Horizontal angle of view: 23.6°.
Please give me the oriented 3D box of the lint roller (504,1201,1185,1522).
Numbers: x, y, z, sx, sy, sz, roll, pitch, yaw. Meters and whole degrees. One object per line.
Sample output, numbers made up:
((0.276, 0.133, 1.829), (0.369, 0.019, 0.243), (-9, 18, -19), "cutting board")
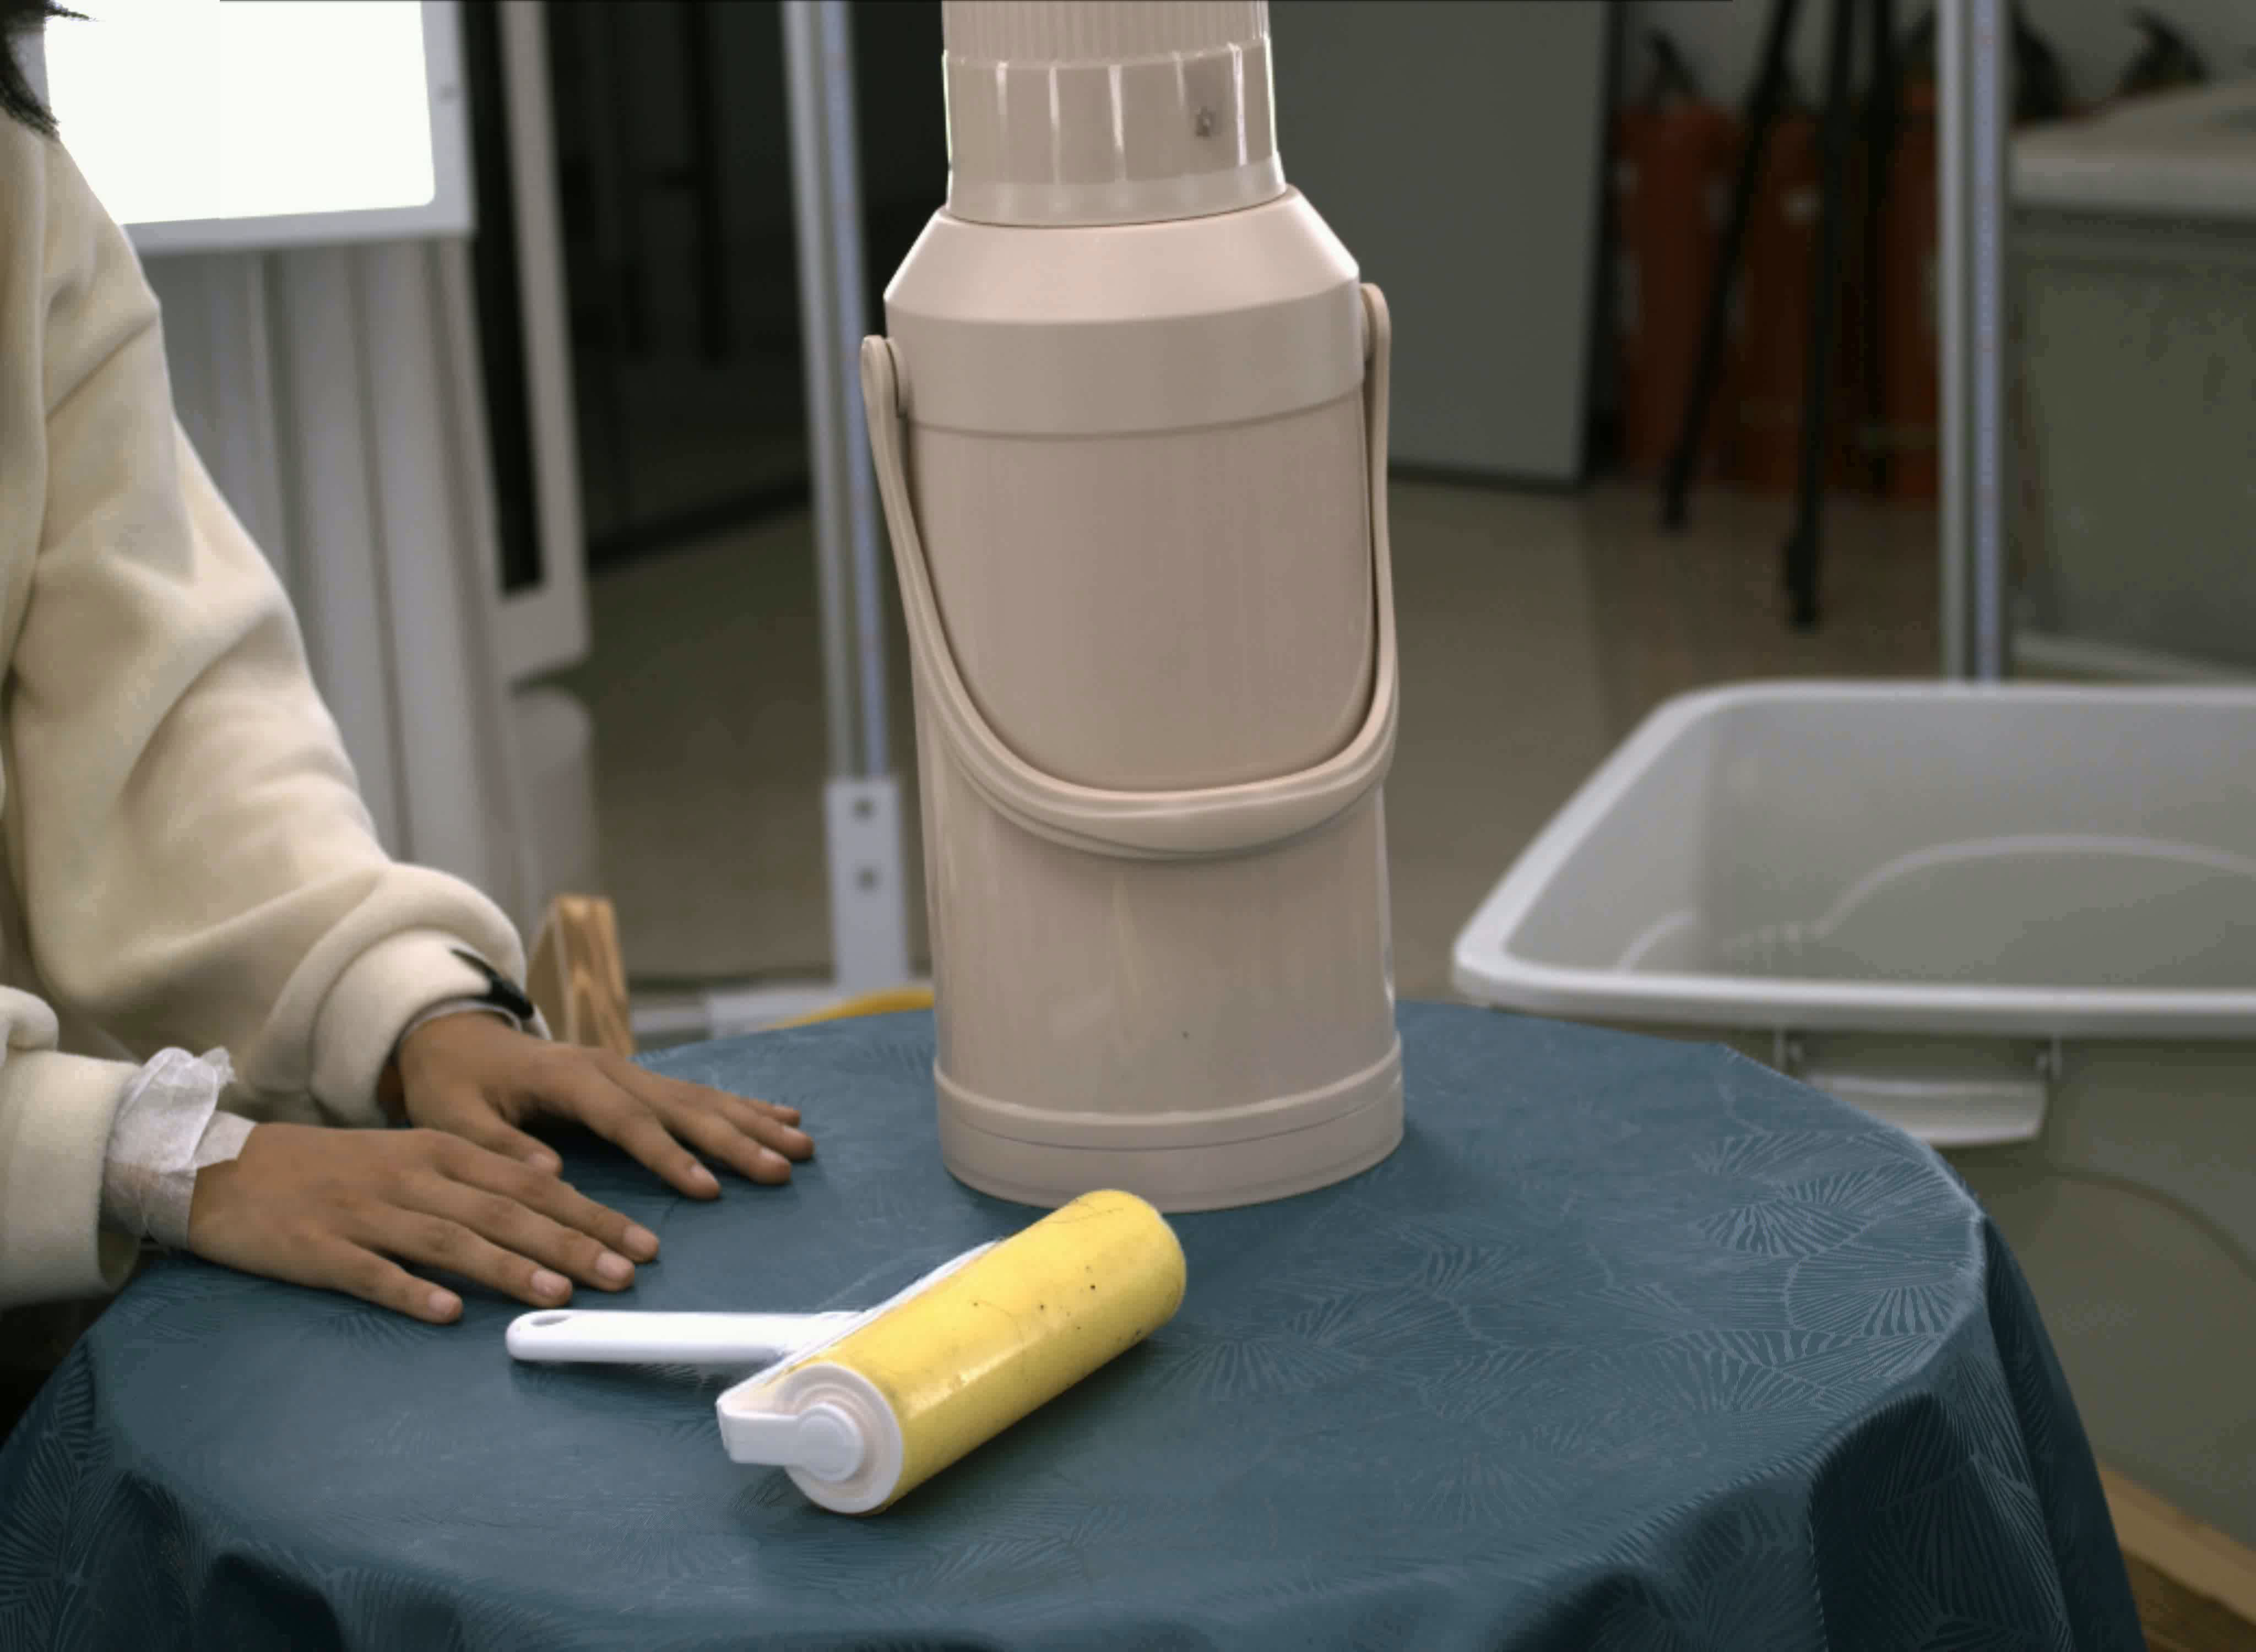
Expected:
((-0.103, 0.143, 1.596), (0.192, 0.052, 0.171), (11, 19, 28), "lint roller")

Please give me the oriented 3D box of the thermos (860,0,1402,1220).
((0.001, -0.089, 1.786), (0.172, 0.411, 0.208), (-8, 13, -14), "thermos")
